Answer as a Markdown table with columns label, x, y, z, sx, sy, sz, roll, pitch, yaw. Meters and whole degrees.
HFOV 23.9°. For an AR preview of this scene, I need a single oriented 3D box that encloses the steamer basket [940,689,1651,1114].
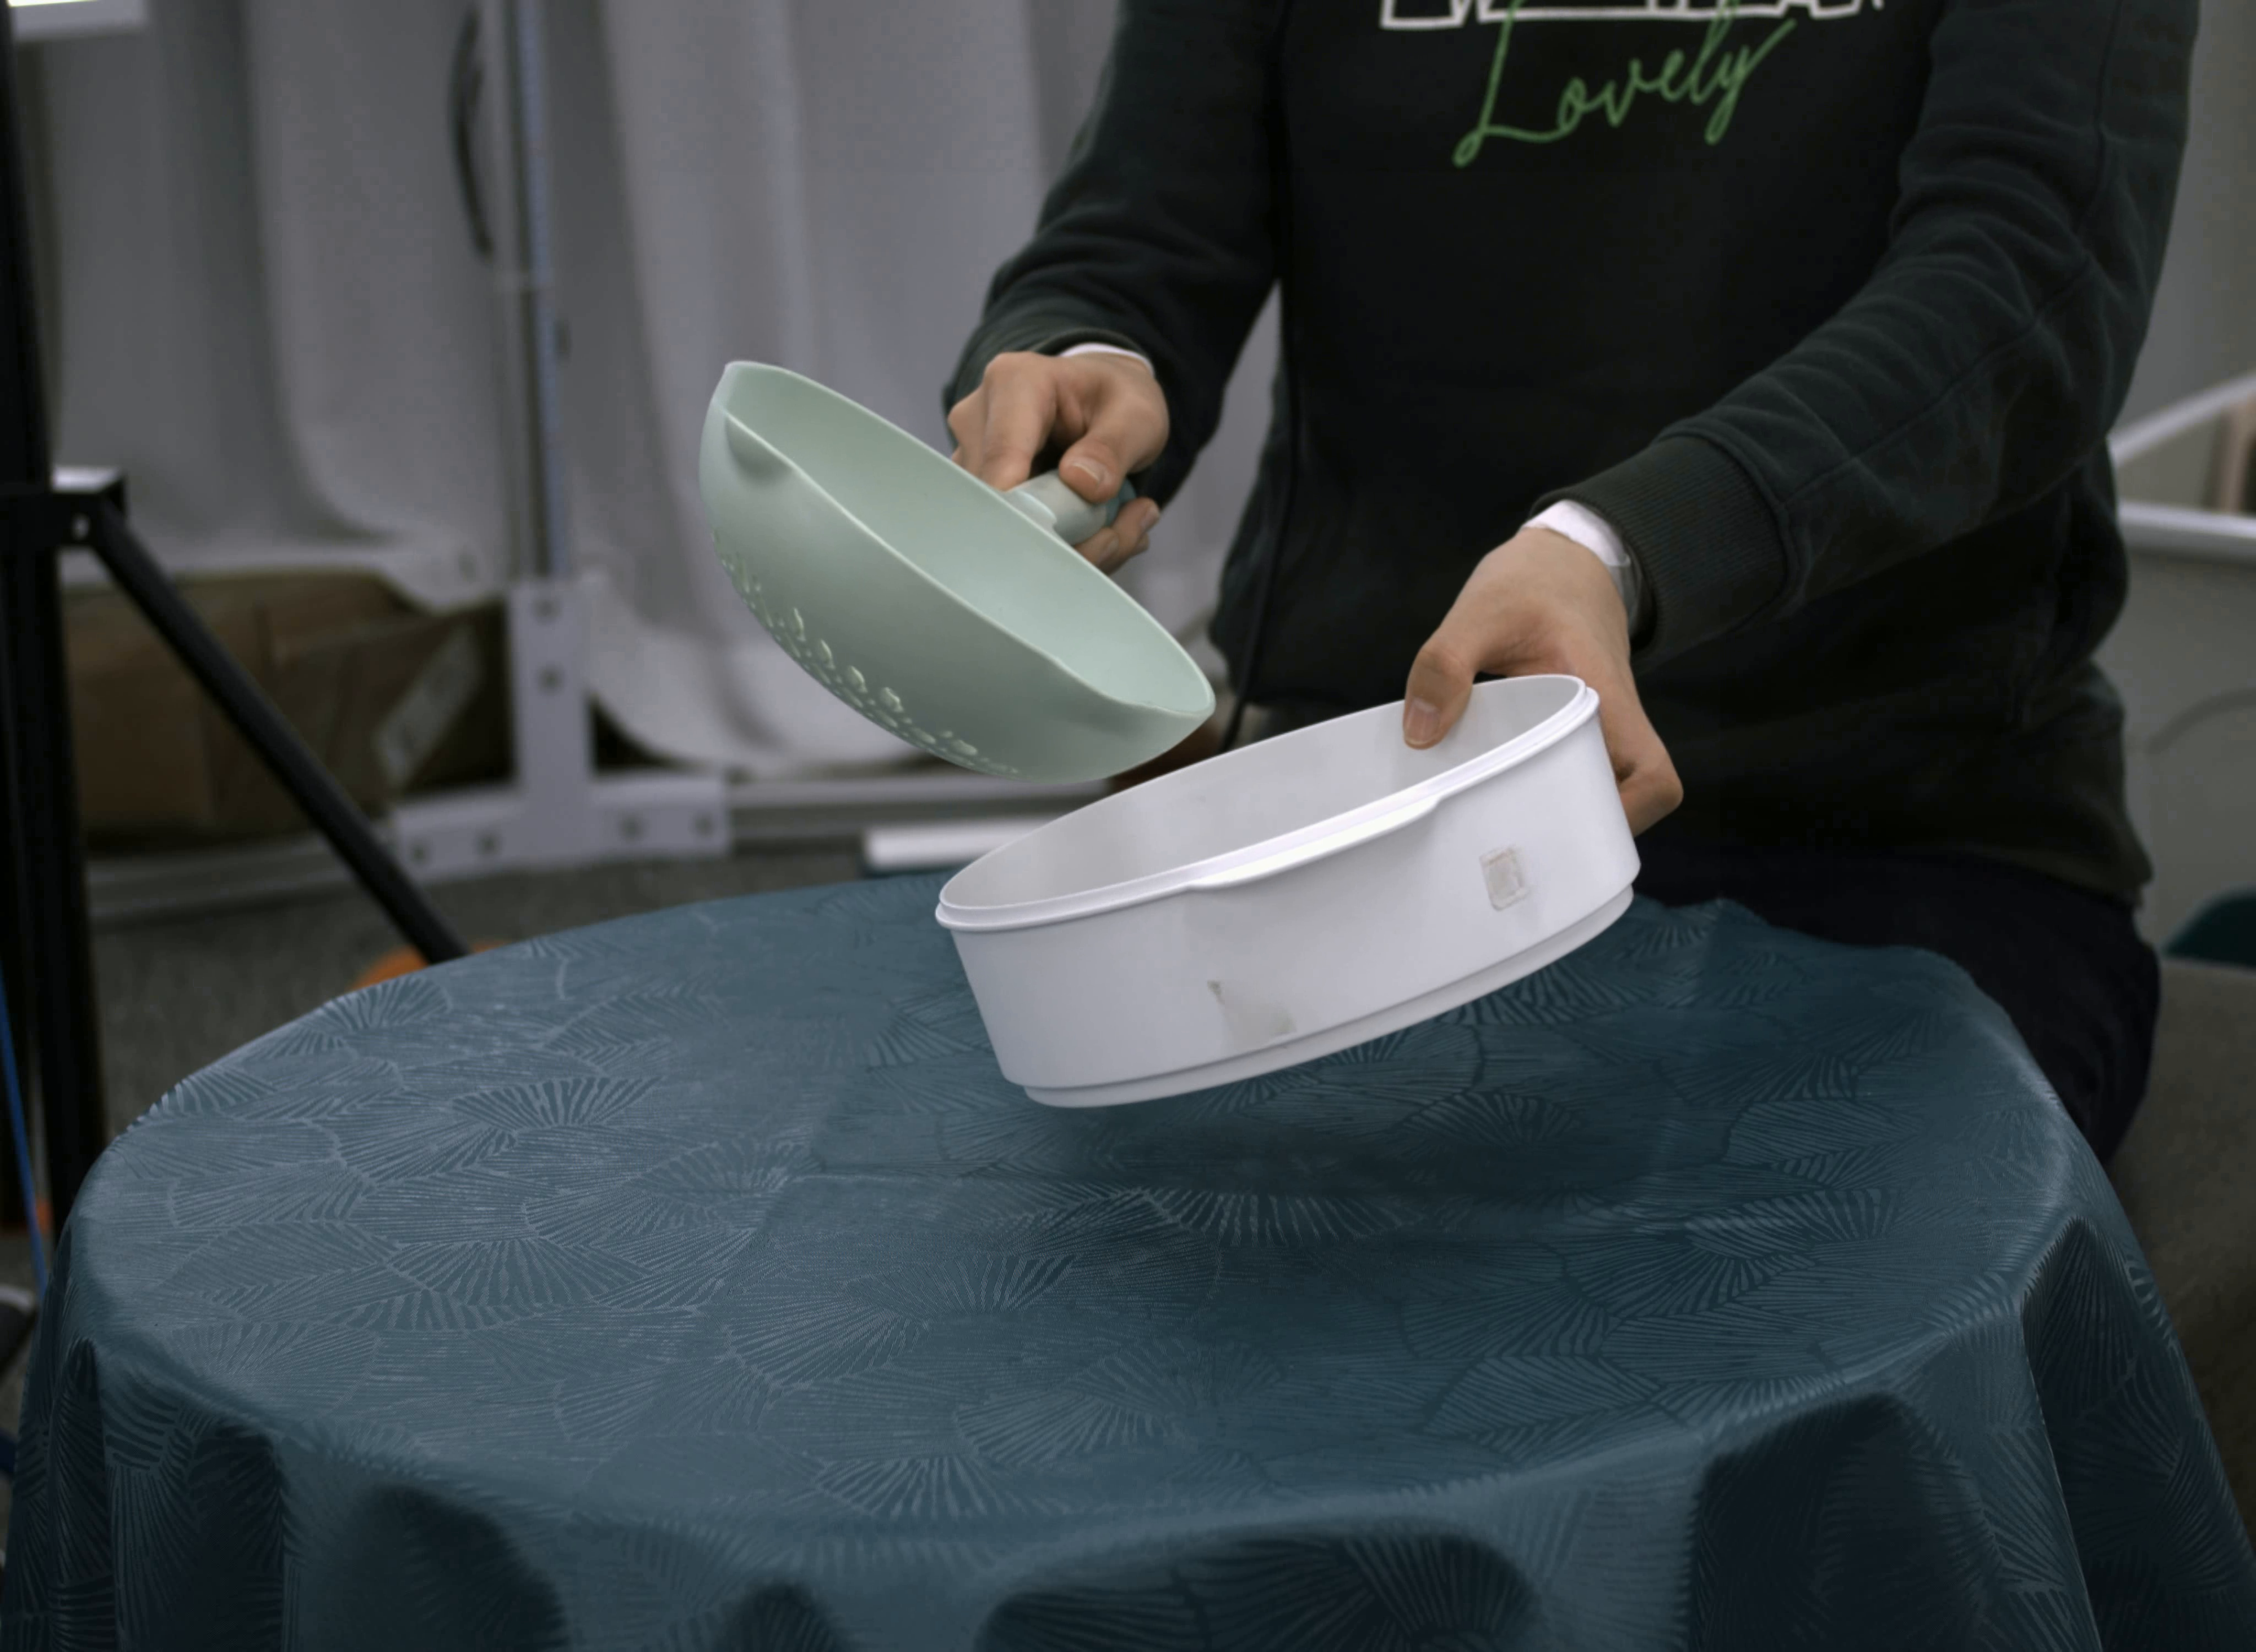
| label | x | y | z | sx | sy | sz | roll | pitch | yaw |
| --- | --- | --- | --- | --- | --- | --- | --- | --- | --- |
| steamer basket | 0.050 | 0.023 | 1.517 | 0.200 | 0.069 | 0.232 | -18 | 7 | -5 |

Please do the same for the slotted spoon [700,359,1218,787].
| label | x | y | z | sx | sy | sz | roll | pitch | yaw |
| --- | --- | --- | --- | --- | --- | --- | --- | --- | --- |
| slotted spoon | -0.036 | -0.085 | 1.595 | 0.169 | 0.076 | 0.356 | 37 | 20 | 3 |
